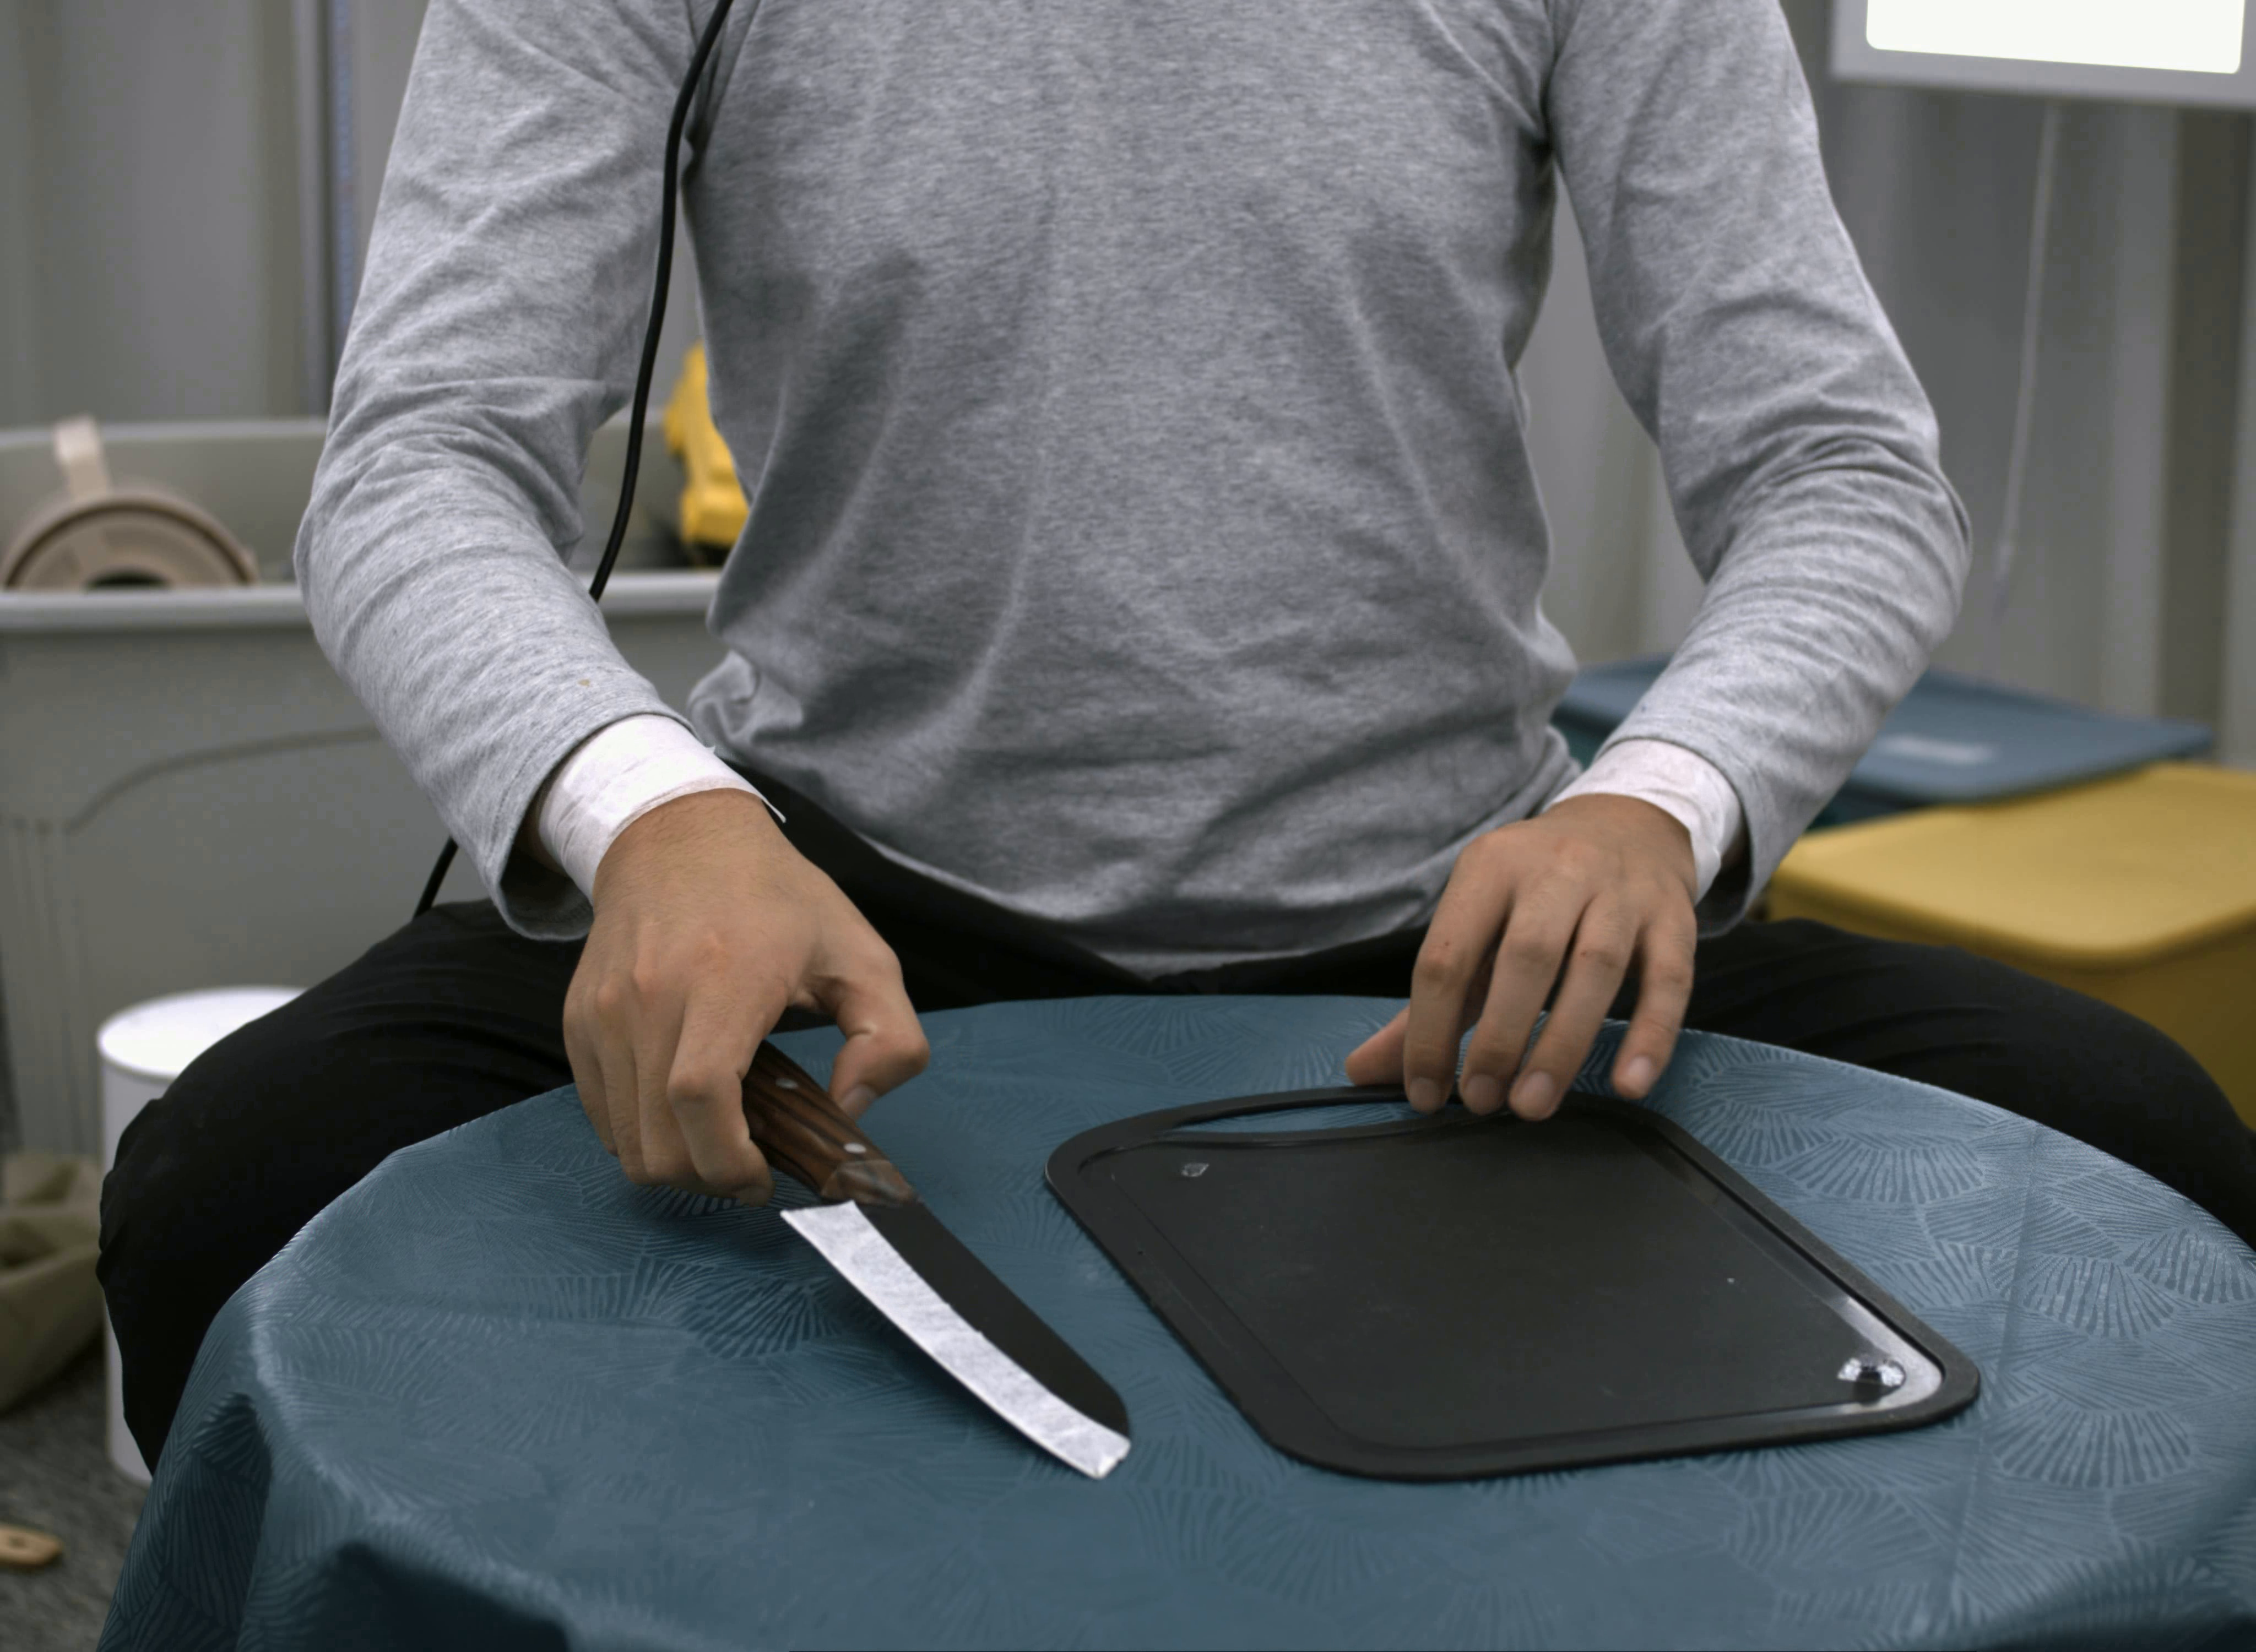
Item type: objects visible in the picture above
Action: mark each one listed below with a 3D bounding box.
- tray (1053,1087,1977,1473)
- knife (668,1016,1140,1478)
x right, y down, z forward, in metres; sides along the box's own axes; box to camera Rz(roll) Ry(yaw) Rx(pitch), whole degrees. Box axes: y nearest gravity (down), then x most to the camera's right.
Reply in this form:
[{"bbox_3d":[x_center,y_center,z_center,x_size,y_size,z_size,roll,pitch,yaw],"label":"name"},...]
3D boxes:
[{"bbox_3d":[0.103,0.127,1.566,0.211,0.010,0.322,-3,16,-16],"label":"tray"},{"bbox_3d":[-0.069,0.120,1.517,0.050,0.020,0.285,-5,25,-27],"label":"knife"}]
